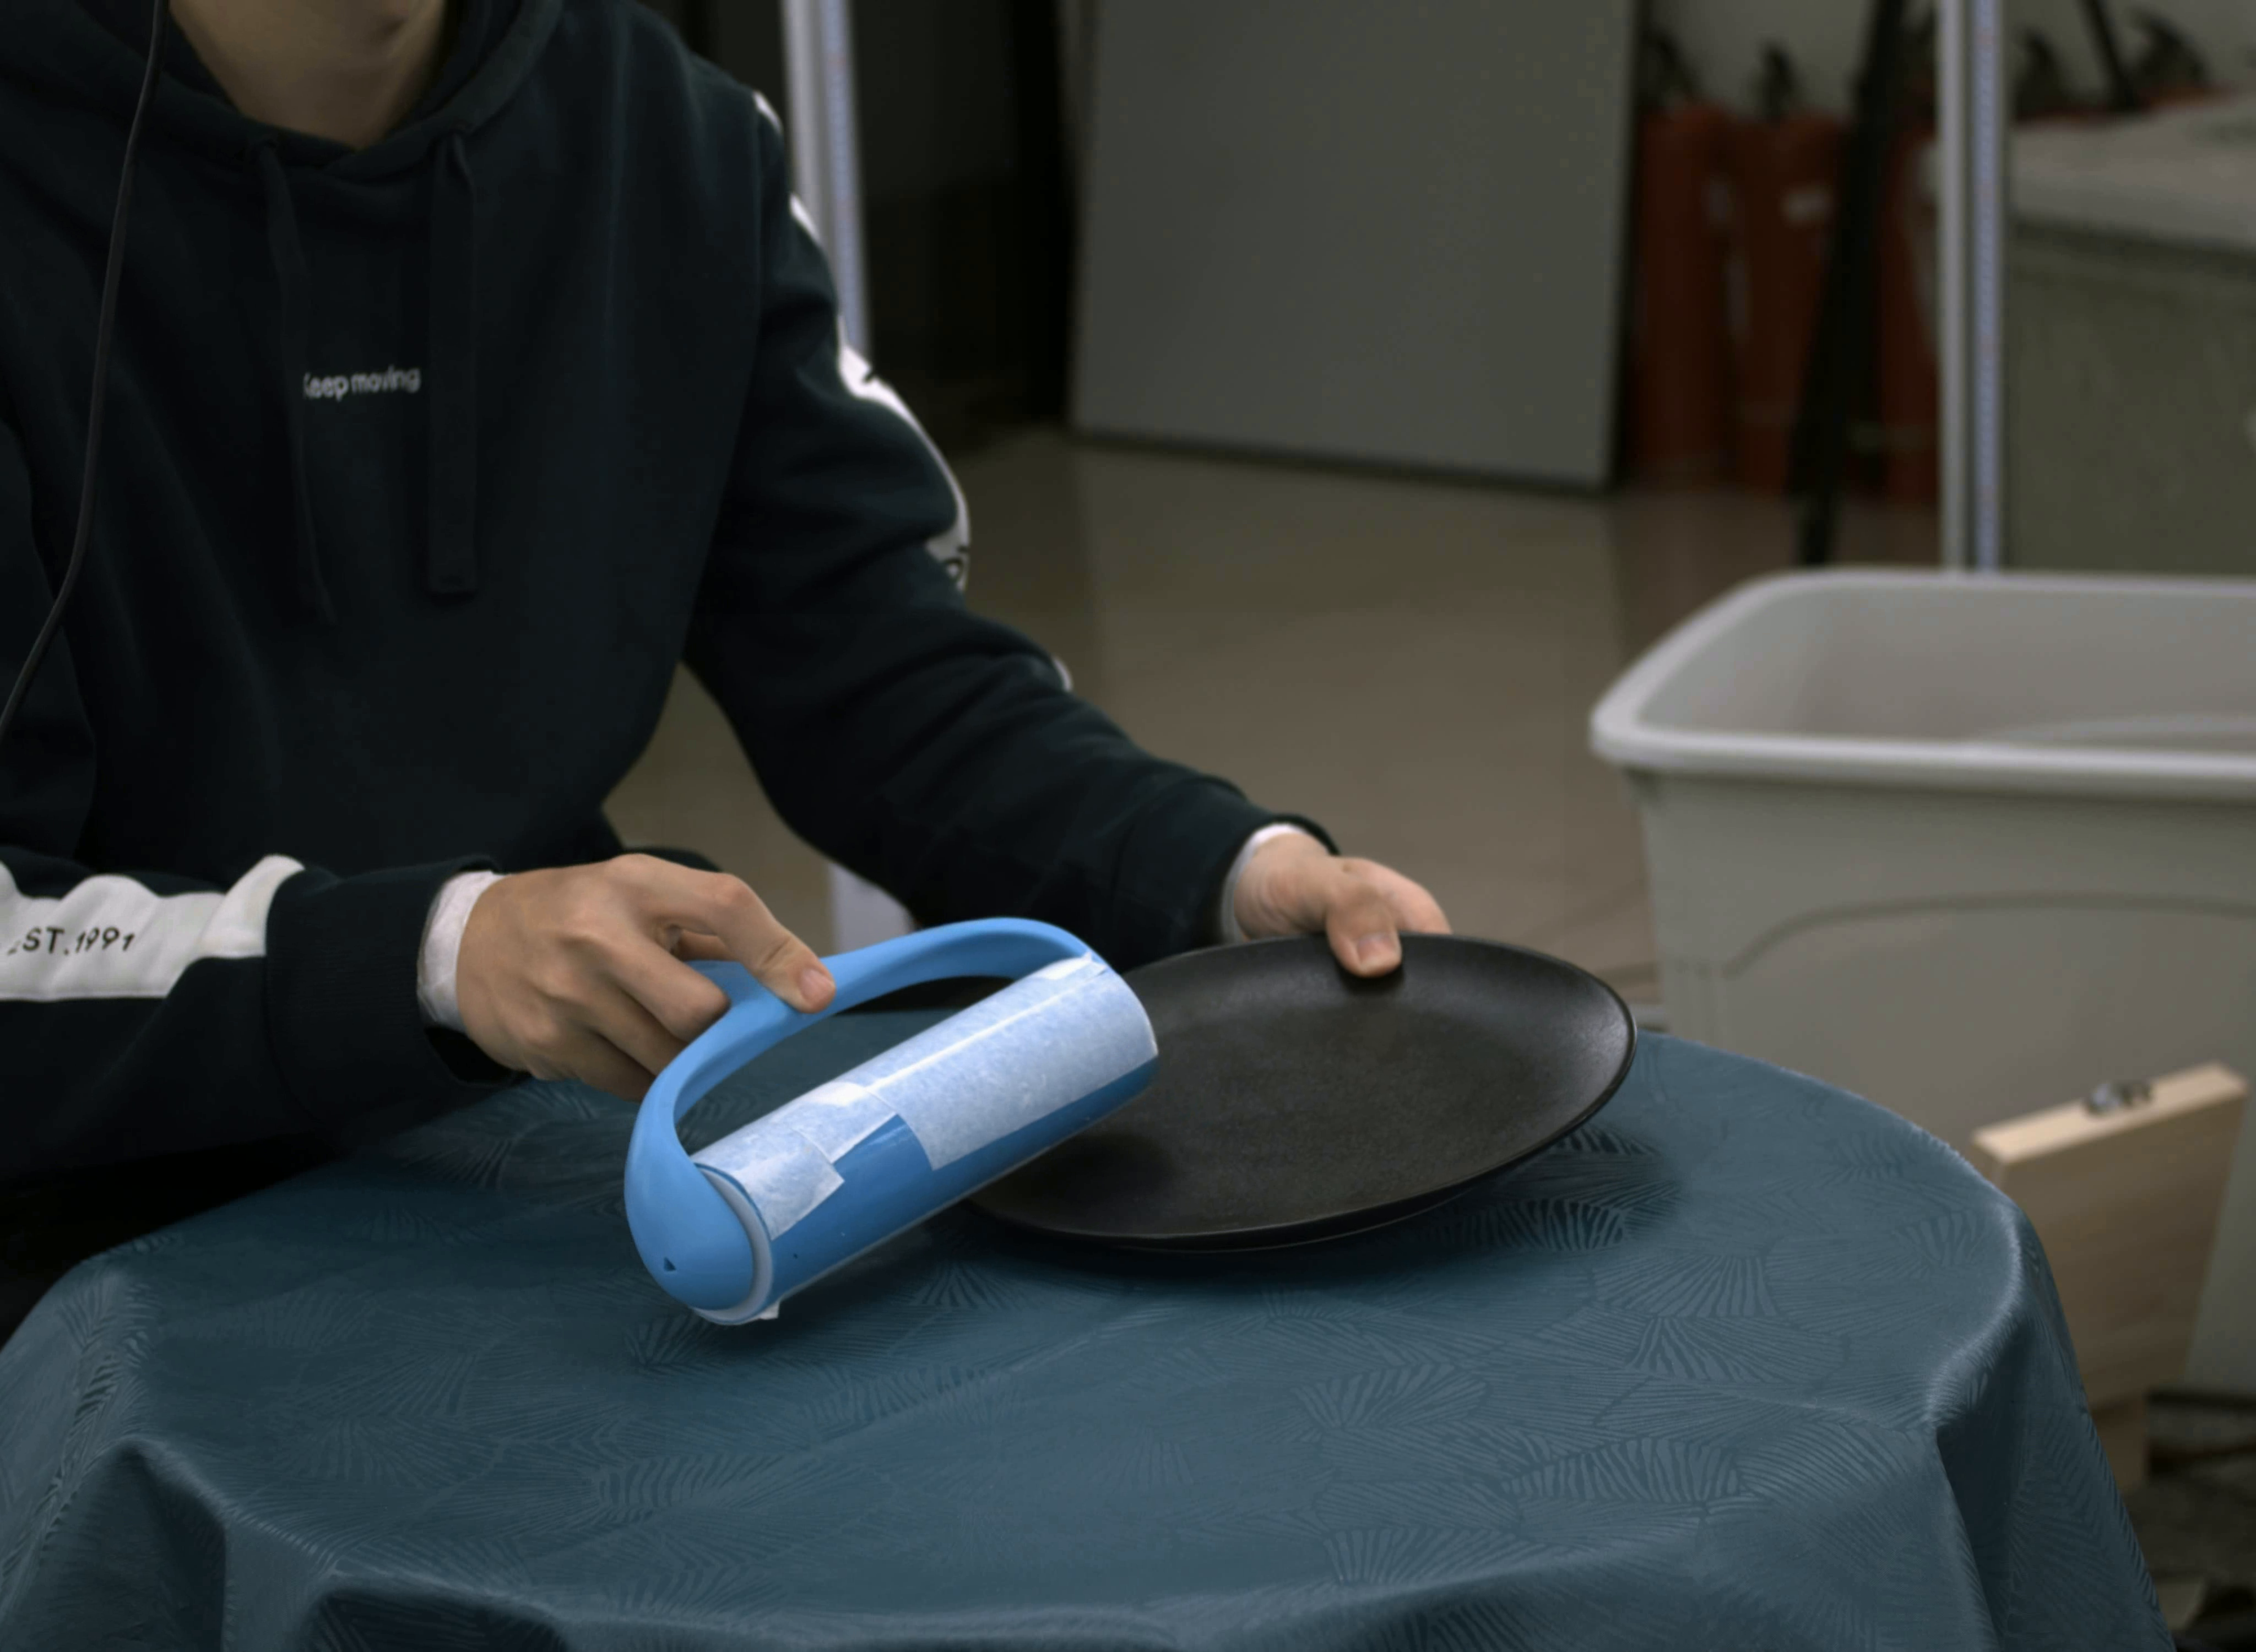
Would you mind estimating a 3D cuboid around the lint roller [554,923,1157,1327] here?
[{"bbox_3d":[-0.115,0.080,1.739,0.181,0.068,0.225,19,30,30],"label":"lint roller"}]

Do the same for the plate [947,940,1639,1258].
[{"bbox_3d":[0.050,0.093,1.775,0.241,0.023,0.245,-10,19,2],"label":"plate"}]
